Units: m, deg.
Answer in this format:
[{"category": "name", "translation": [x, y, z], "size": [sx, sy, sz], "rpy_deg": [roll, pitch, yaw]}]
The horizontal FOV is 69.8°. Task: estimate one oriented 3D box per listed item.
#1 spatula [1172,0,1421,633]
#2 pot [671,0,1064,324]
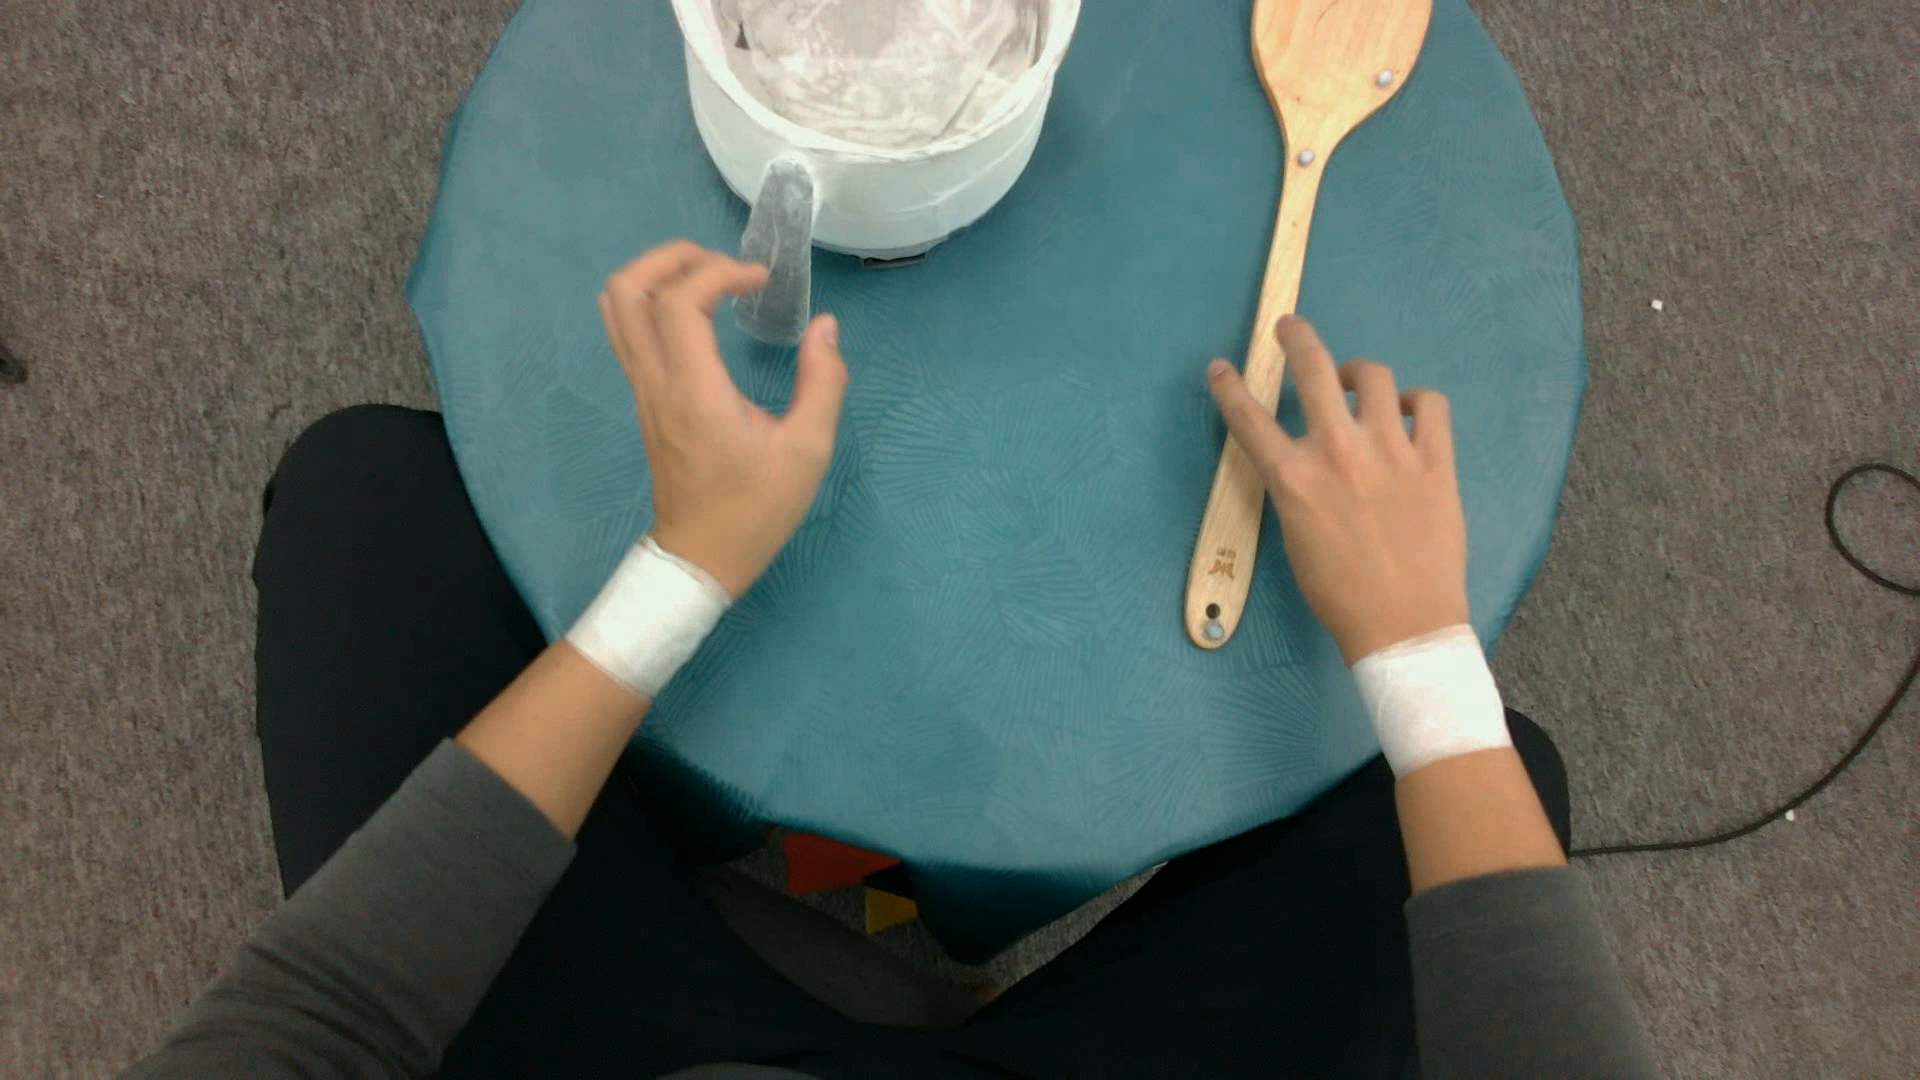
[{"category": "spatula", "translation": [0.166, -0.140, 0.720], "size": [0.096, 0.018, 0.391], "rpy_deg": [14, 79, -3]}, {"category": "pot", "translation": [-0.056, -0.219, 0.645], "size": [0.179, 0.136, 0.234], "rpy_deg": [20, 79, -3]}]
